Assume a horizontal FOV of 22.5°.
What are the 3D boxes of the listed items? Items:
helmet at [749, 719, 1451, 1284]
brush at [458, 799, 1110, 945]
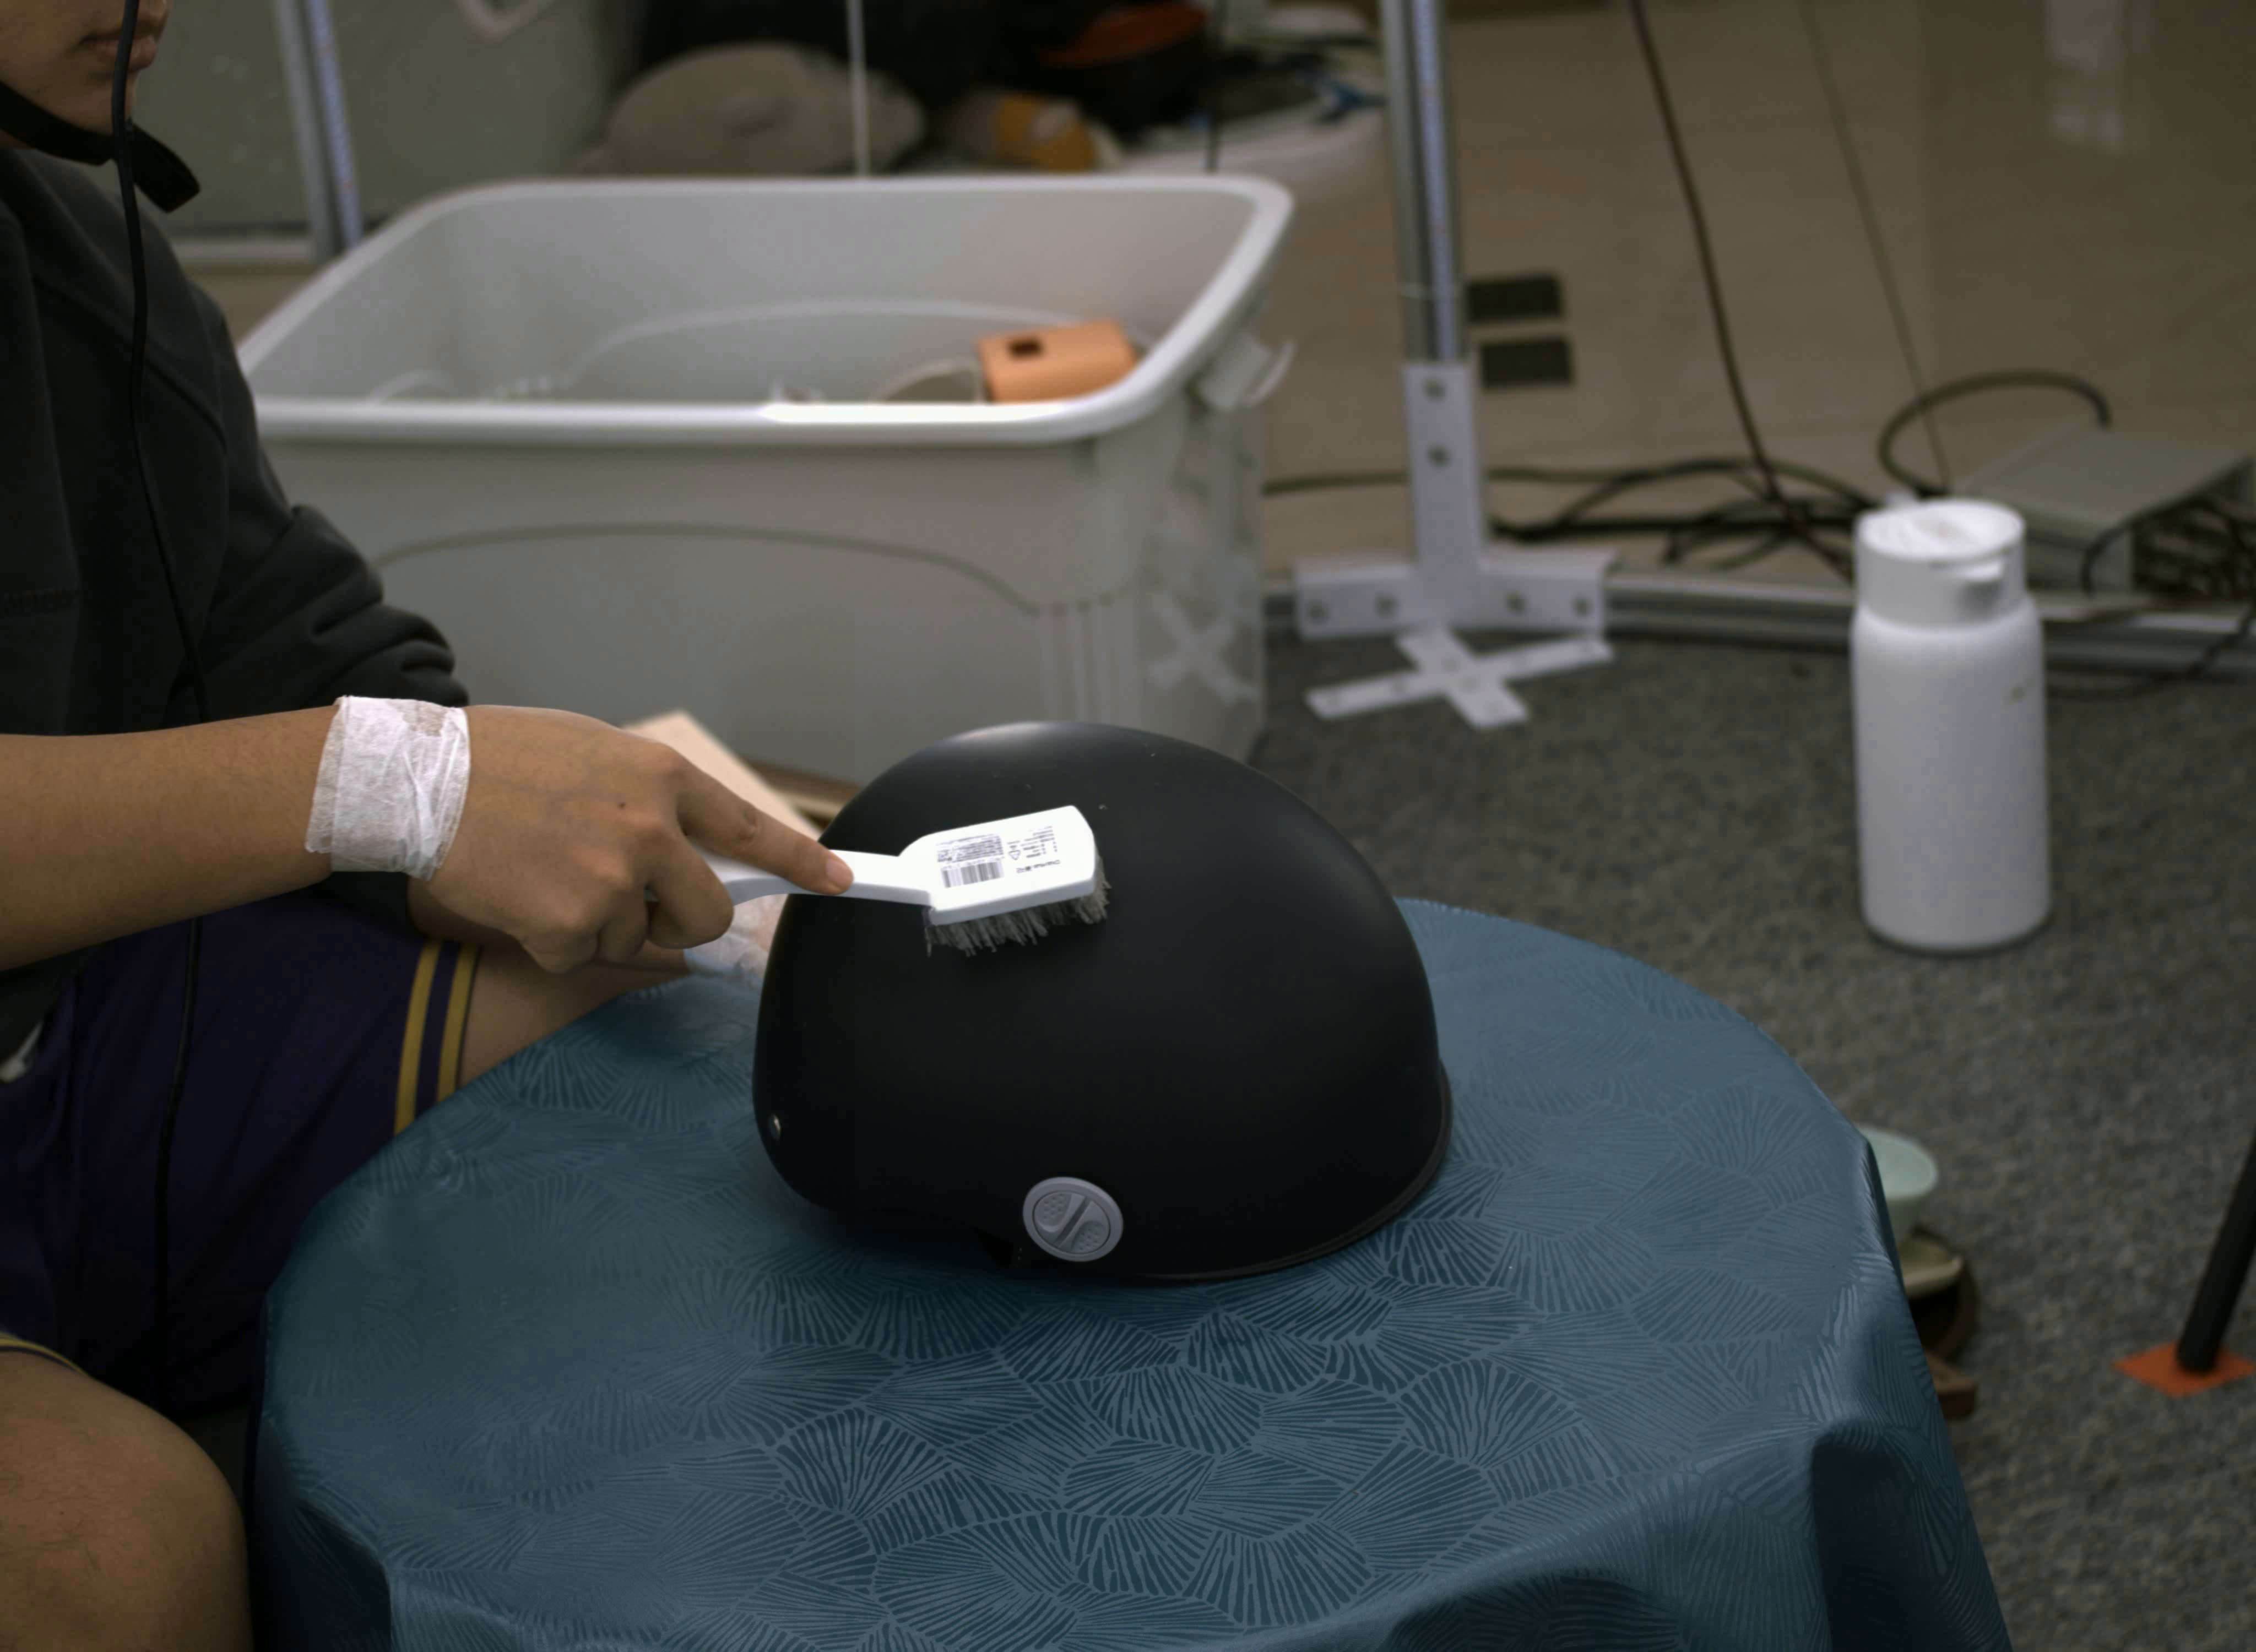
[{"bbox_3d":[-0.016,0.051,2.132,0.272,0.170,0.227,11,39,25],"label":"helmet"},{"bbox_3d":[-0.120,0.022,1.999,0.243,0.051,0.034,-4,57,-21],"label":"brush"}]
